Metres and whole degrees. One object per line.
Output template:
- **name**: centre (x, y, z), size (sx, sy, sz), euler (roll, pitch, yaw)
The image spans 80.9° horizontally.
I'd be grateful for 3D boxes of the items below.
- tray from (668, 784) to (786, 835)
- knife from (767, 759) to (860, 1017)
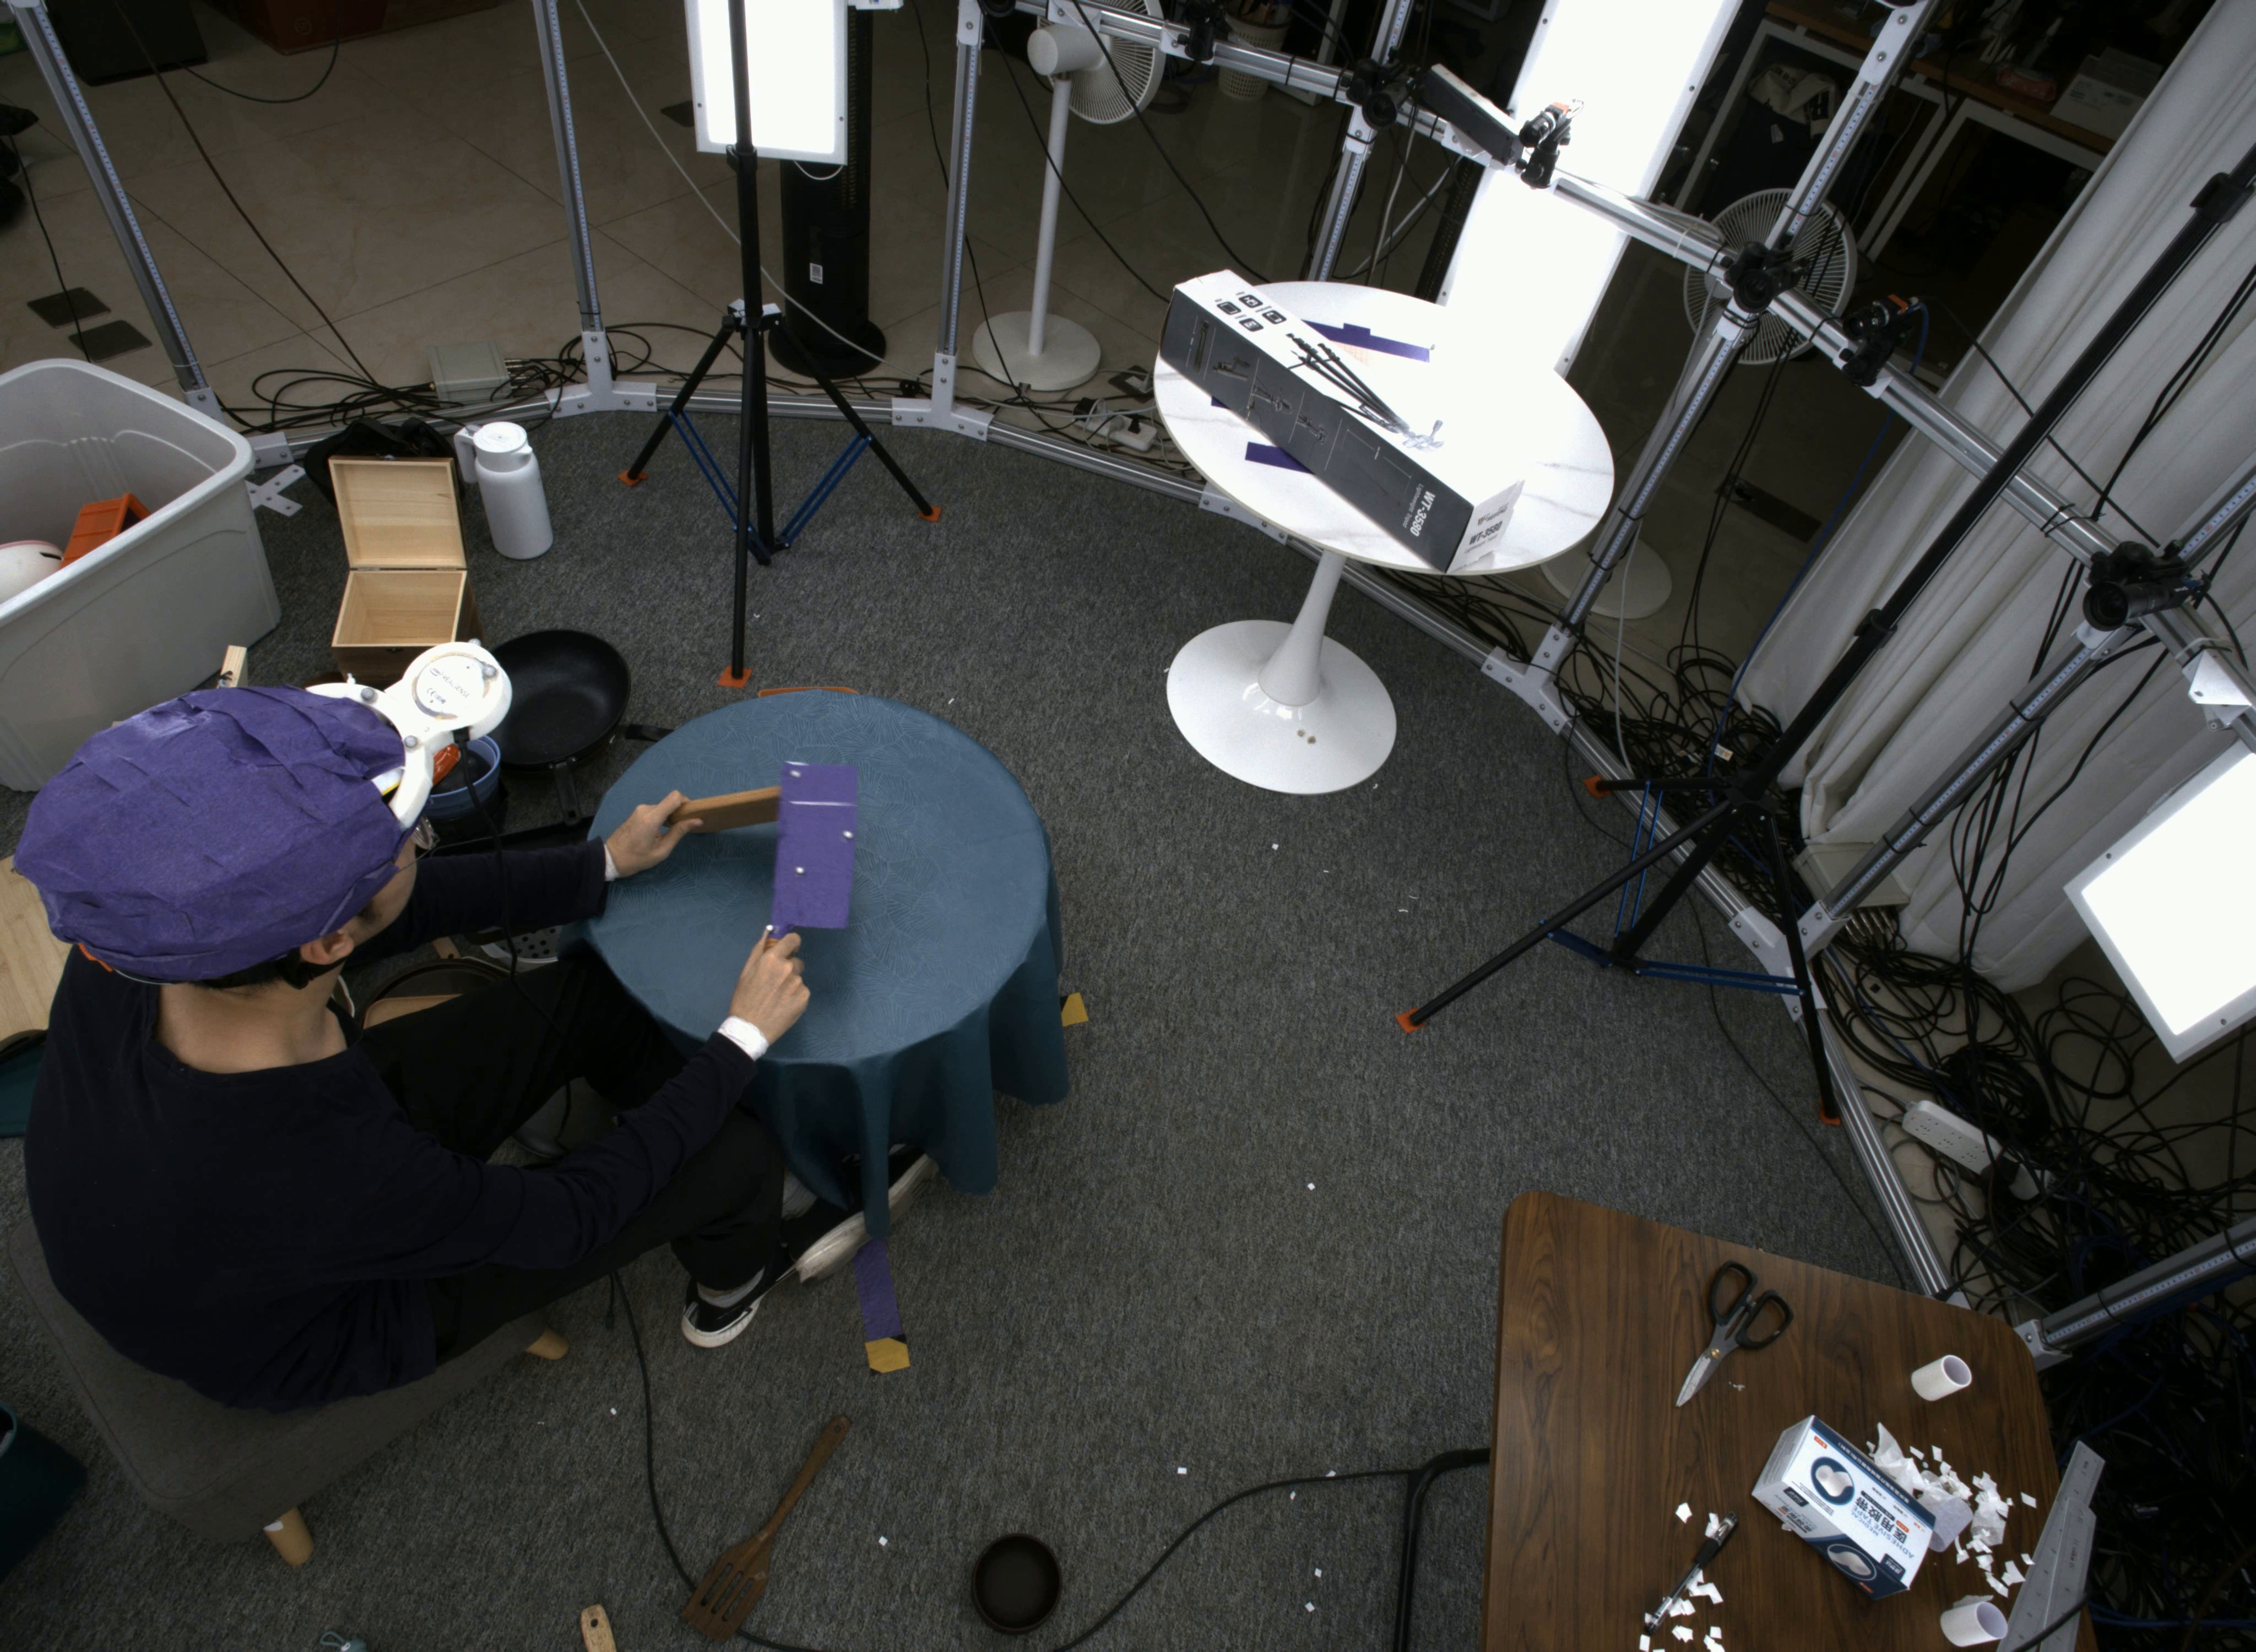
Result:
- **tray**: centre (-0.470, -0.024, 1.649), size (0.230, 0.103, 0.020), euler (-12, 73, -7)
- **knife**: centre (-0.374, 0.067, 1.545), size (0.104, 0.032, 0.314), euler (3, 73, -11)
